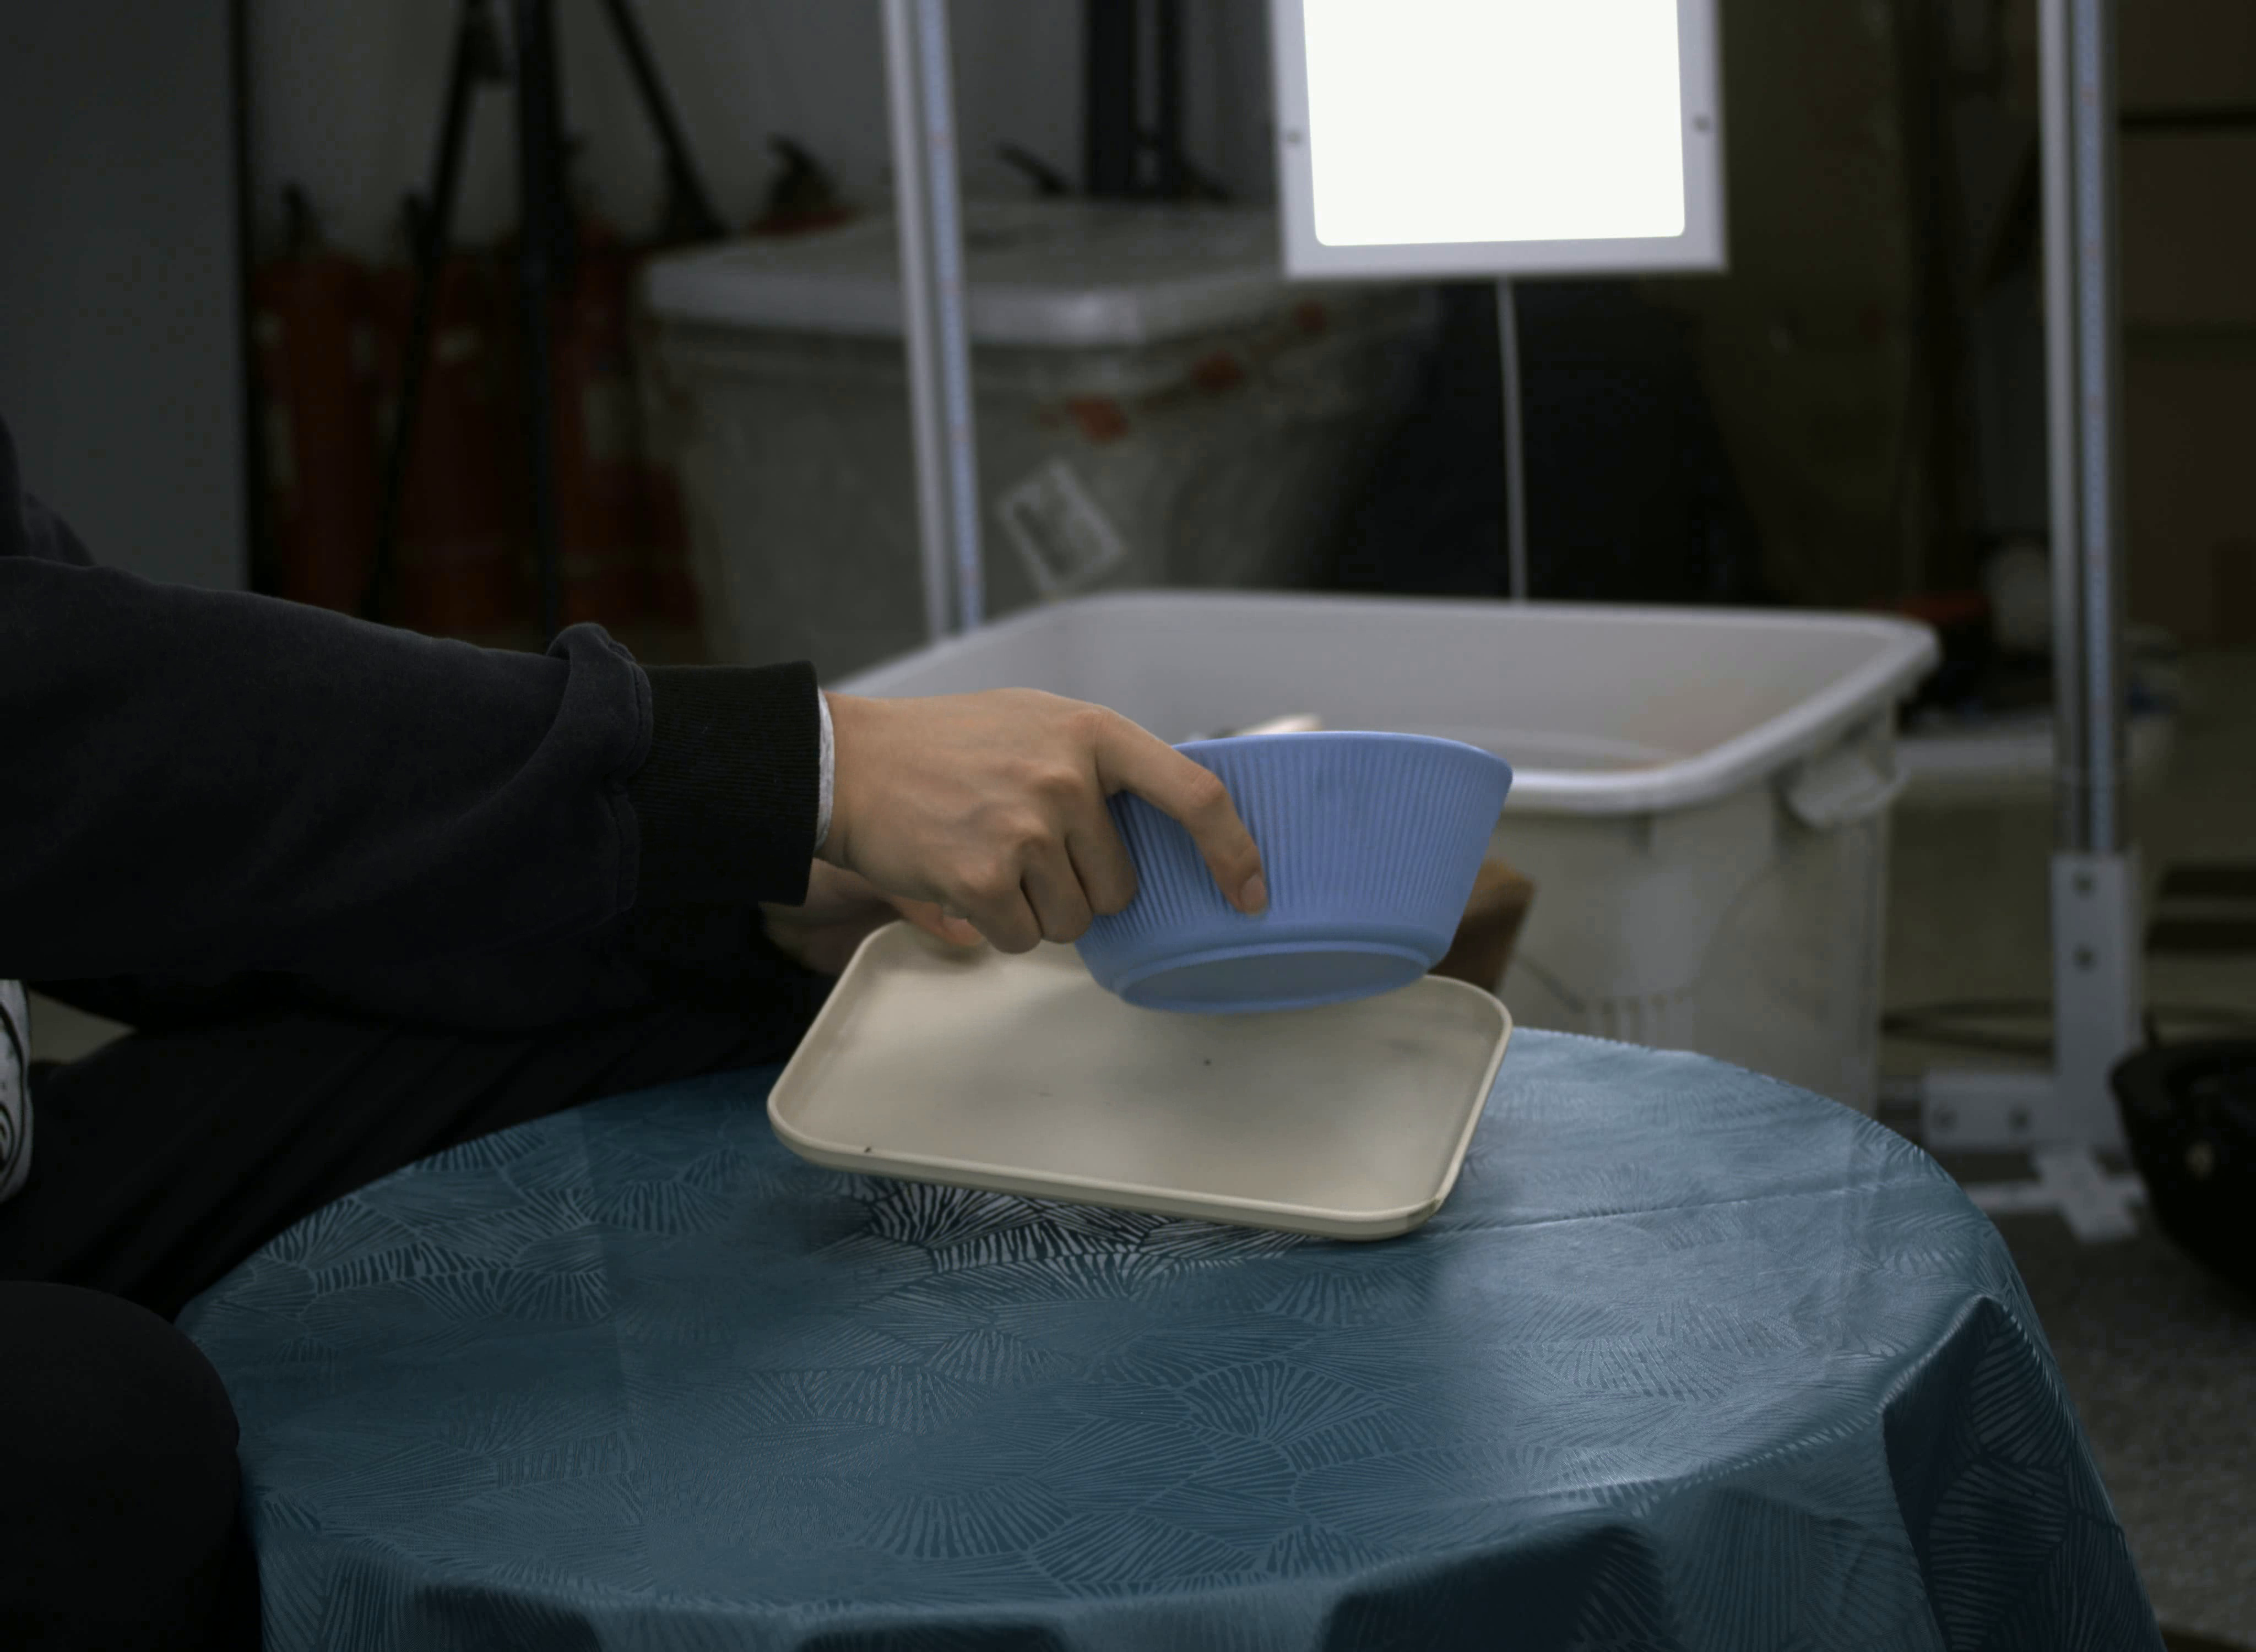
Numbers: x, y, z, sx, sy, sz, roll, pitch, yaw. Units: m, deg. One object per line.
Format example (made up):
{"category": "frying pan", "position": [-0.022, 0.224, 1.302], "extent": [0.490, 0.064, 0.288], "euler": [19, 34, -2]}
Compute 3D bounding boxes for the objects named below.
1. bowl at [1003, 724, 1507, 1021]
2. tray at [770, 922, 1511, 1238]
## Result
{"category": "bowl", "position": [0.046, 0.021, 1.887], "extent": [0.175, 0.070, 0.176], "euler": [-3, -15, -2]}
{"category": "tray", "position": [0.006, 0.088, 1.908], "extent": [0.242, 0.017, 0.169], "euler": [6, 27, 14]}
